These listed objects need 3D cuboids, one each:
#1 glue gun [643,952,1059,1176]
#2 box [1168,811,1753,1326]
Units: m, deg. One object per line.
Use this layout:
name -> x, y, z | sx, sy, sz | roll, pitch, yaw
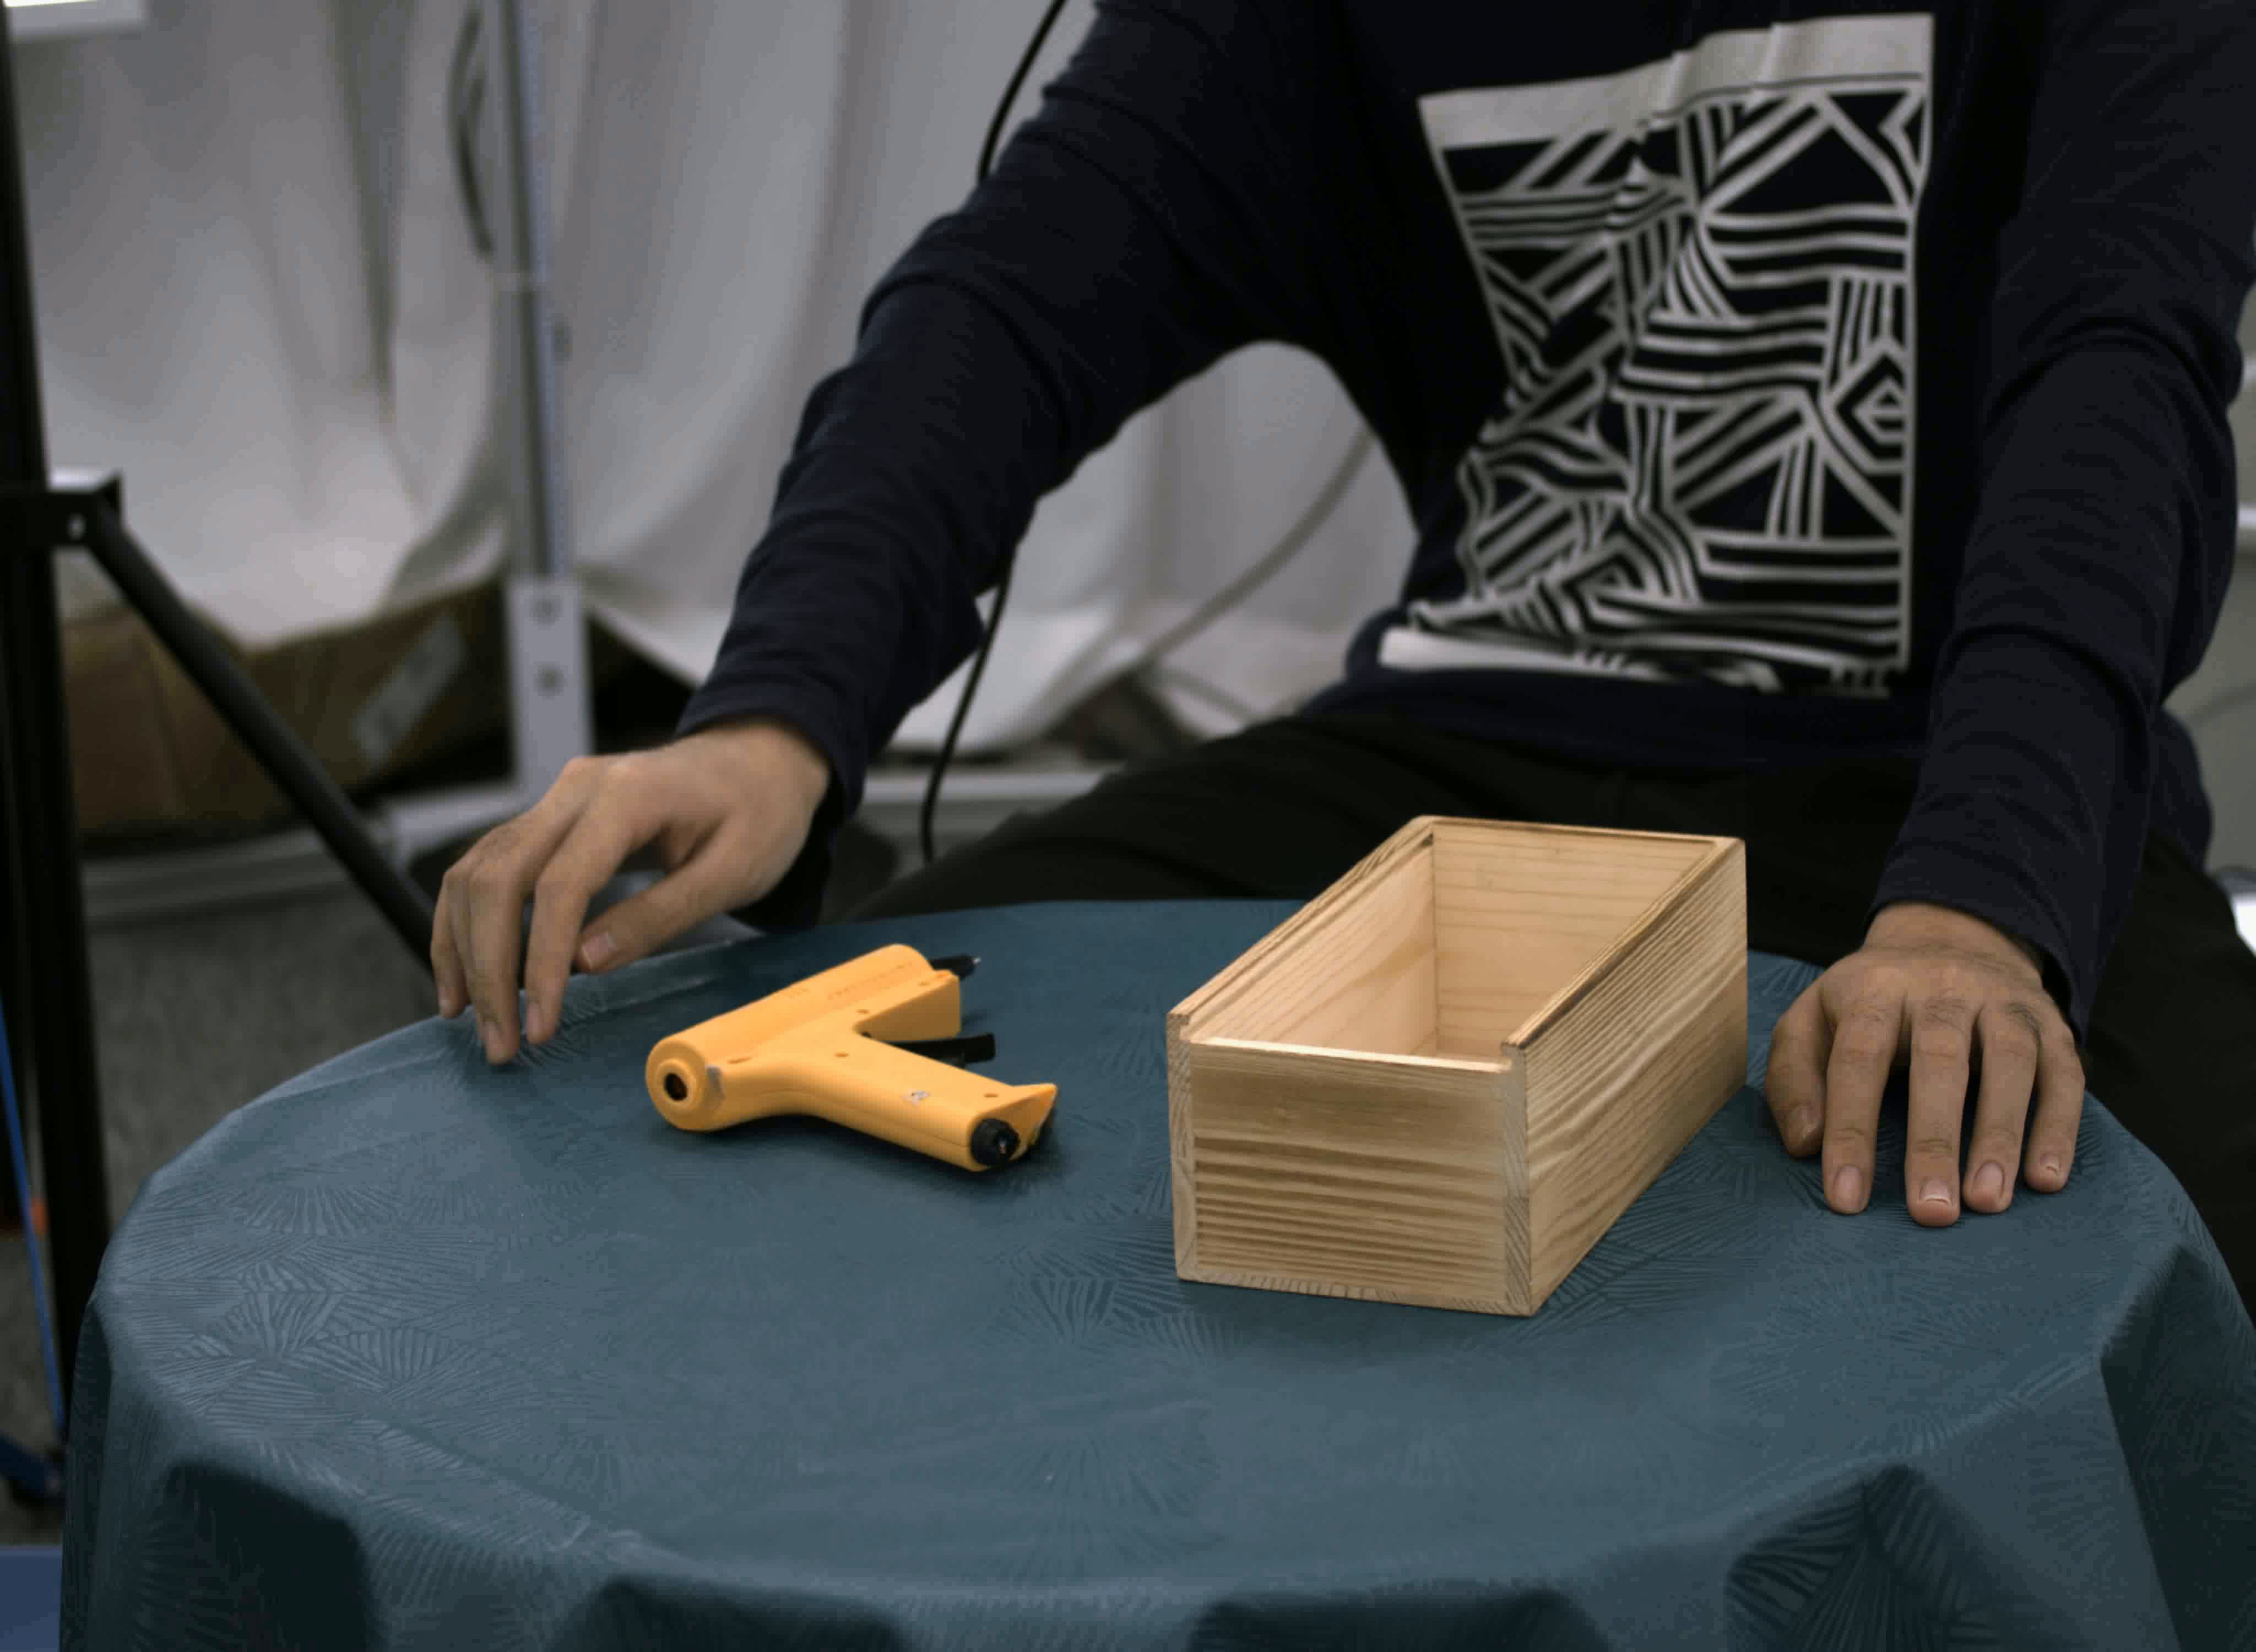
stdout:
glue gun -> -0.056, 0.070, 1.653 | 0.135, 0.031, 0.148 | 8, 19, 32
box -> 0.101, 0.066, 1.543 | 0.109, 0.080, 0.208 | 5, 18, 23
